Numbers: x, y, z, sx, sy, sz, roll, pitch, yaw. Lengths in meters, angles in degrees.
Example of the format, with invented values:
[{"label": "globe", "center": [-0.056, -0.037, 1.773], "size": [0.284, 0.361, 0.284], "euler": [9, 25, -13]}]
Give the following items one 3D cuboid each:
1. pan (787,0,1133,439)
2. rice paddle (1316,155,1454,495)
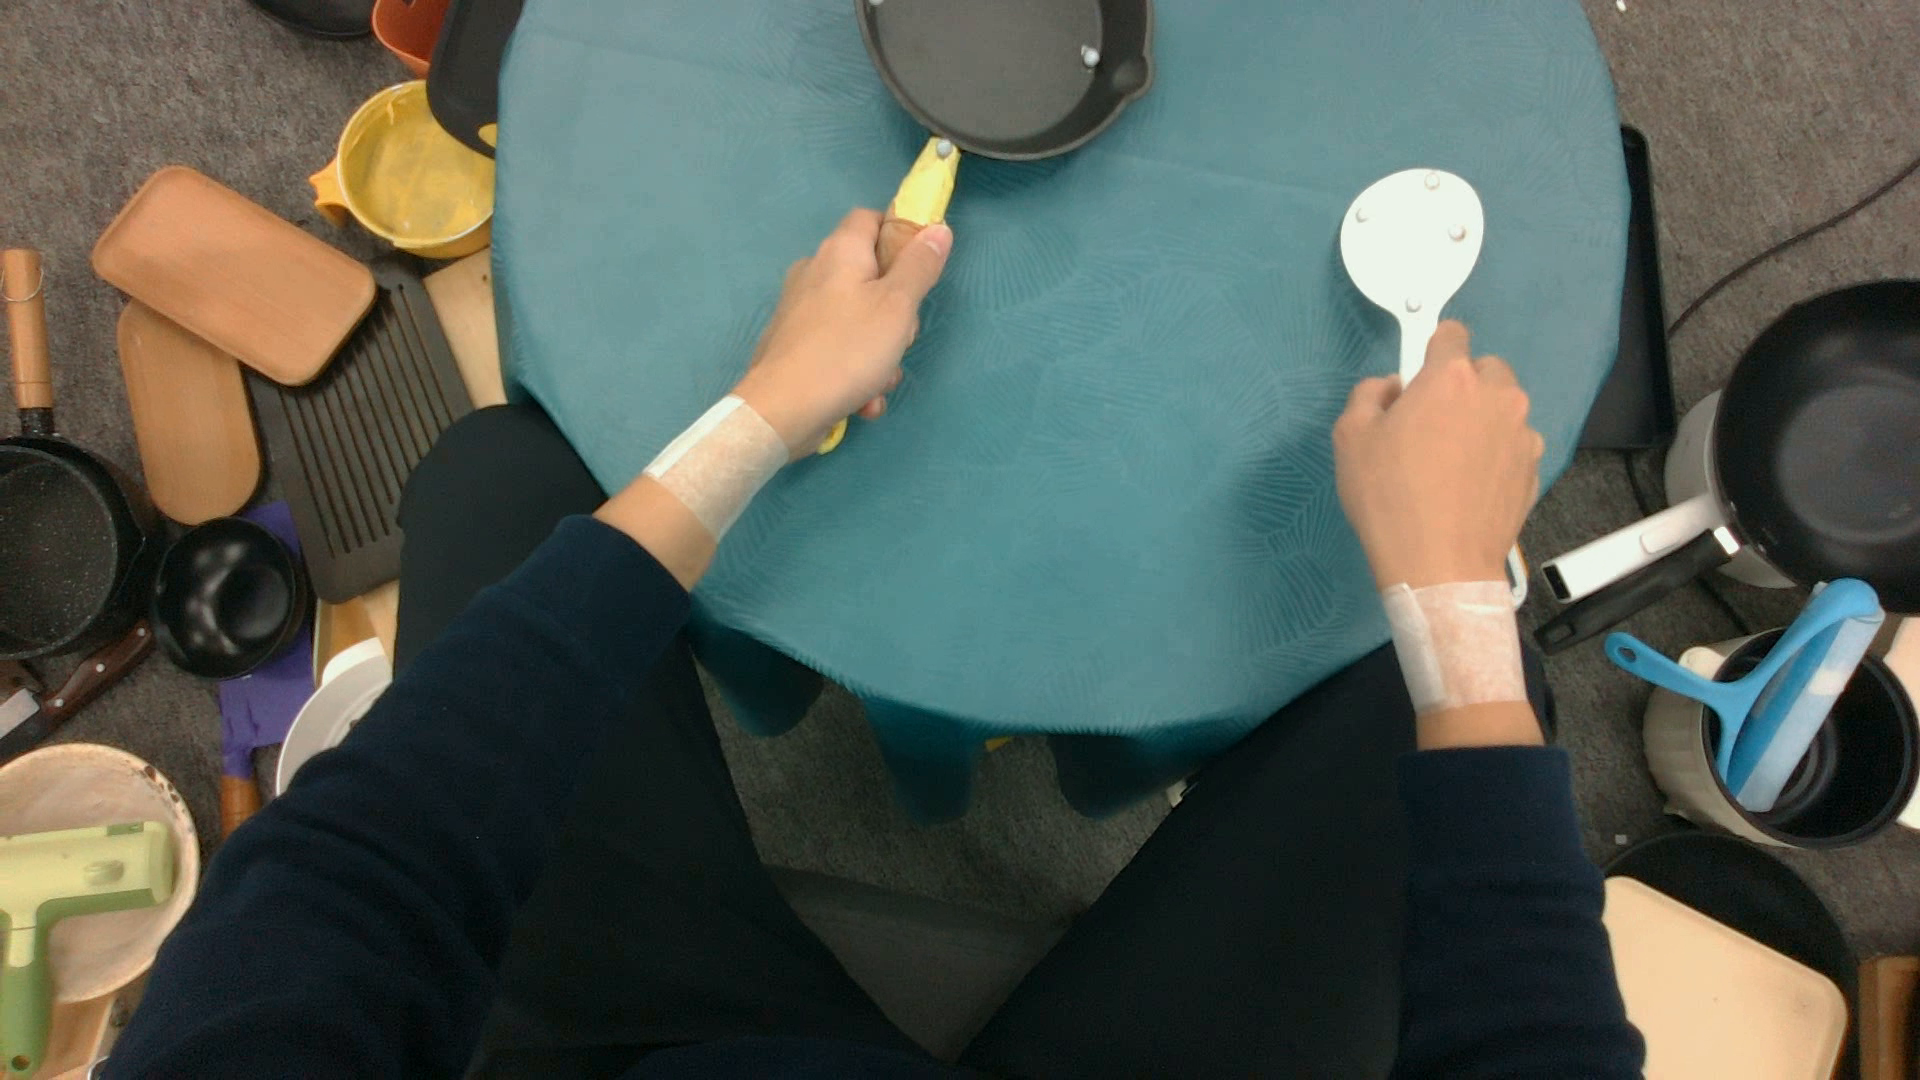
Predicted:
[{"label": "pan", "center": [-0.021, -0.198, 0.682], "size": [0.169, 0.049, 0.324], "euler": [26, 81, -18]}, {"label": "rice paddle", "center": [0.214, -0.117, 0.678], "size": [0.068, 0.029, 0.206], "euler": [-8, 58, 21]}]
